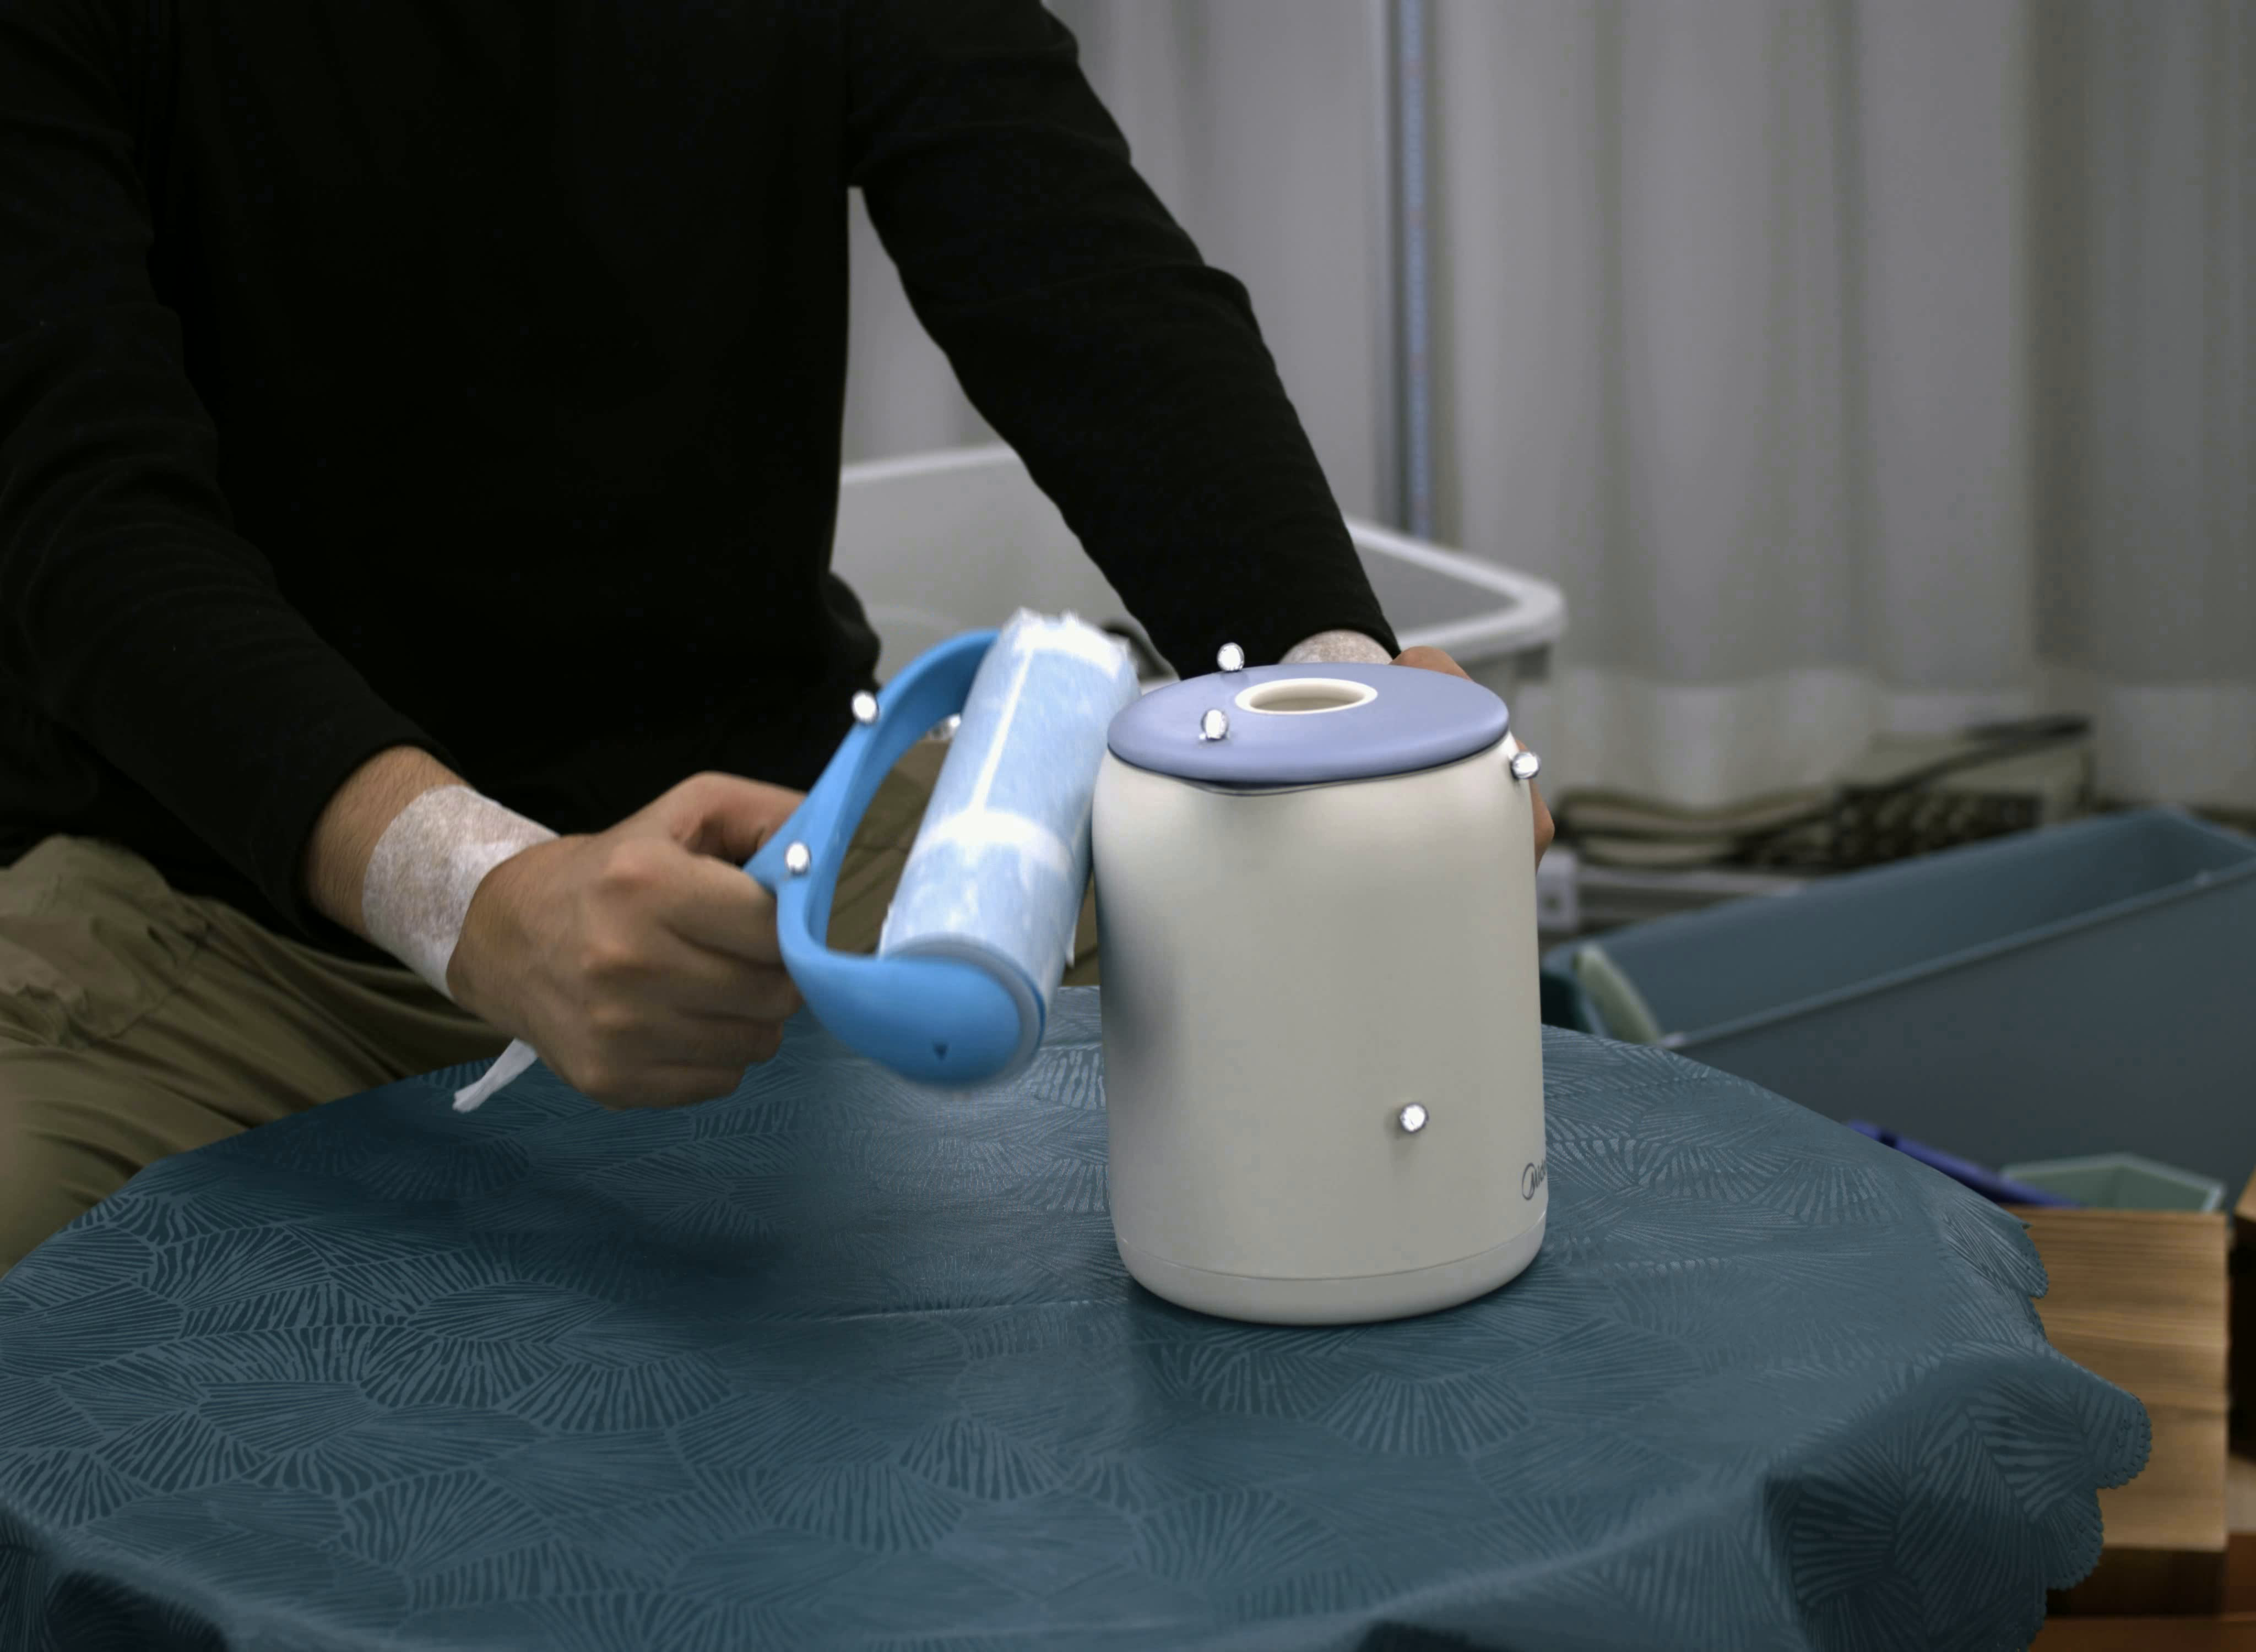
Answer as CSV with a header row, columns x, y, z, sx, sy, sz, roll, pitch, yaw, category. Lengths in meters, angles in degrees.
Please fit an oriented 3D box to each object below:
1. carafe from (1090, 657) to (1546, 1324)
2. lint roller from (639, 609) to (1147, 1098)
x,y,z,sx,sy,sz,roll,pitch,yaw,category
0.063,0.041,1.645,0.132,0.182,0.191,2,13,17,carafe
-0.086,0.025,1.645,0.180,0.067,0.231,-24,25,19,lint roller
